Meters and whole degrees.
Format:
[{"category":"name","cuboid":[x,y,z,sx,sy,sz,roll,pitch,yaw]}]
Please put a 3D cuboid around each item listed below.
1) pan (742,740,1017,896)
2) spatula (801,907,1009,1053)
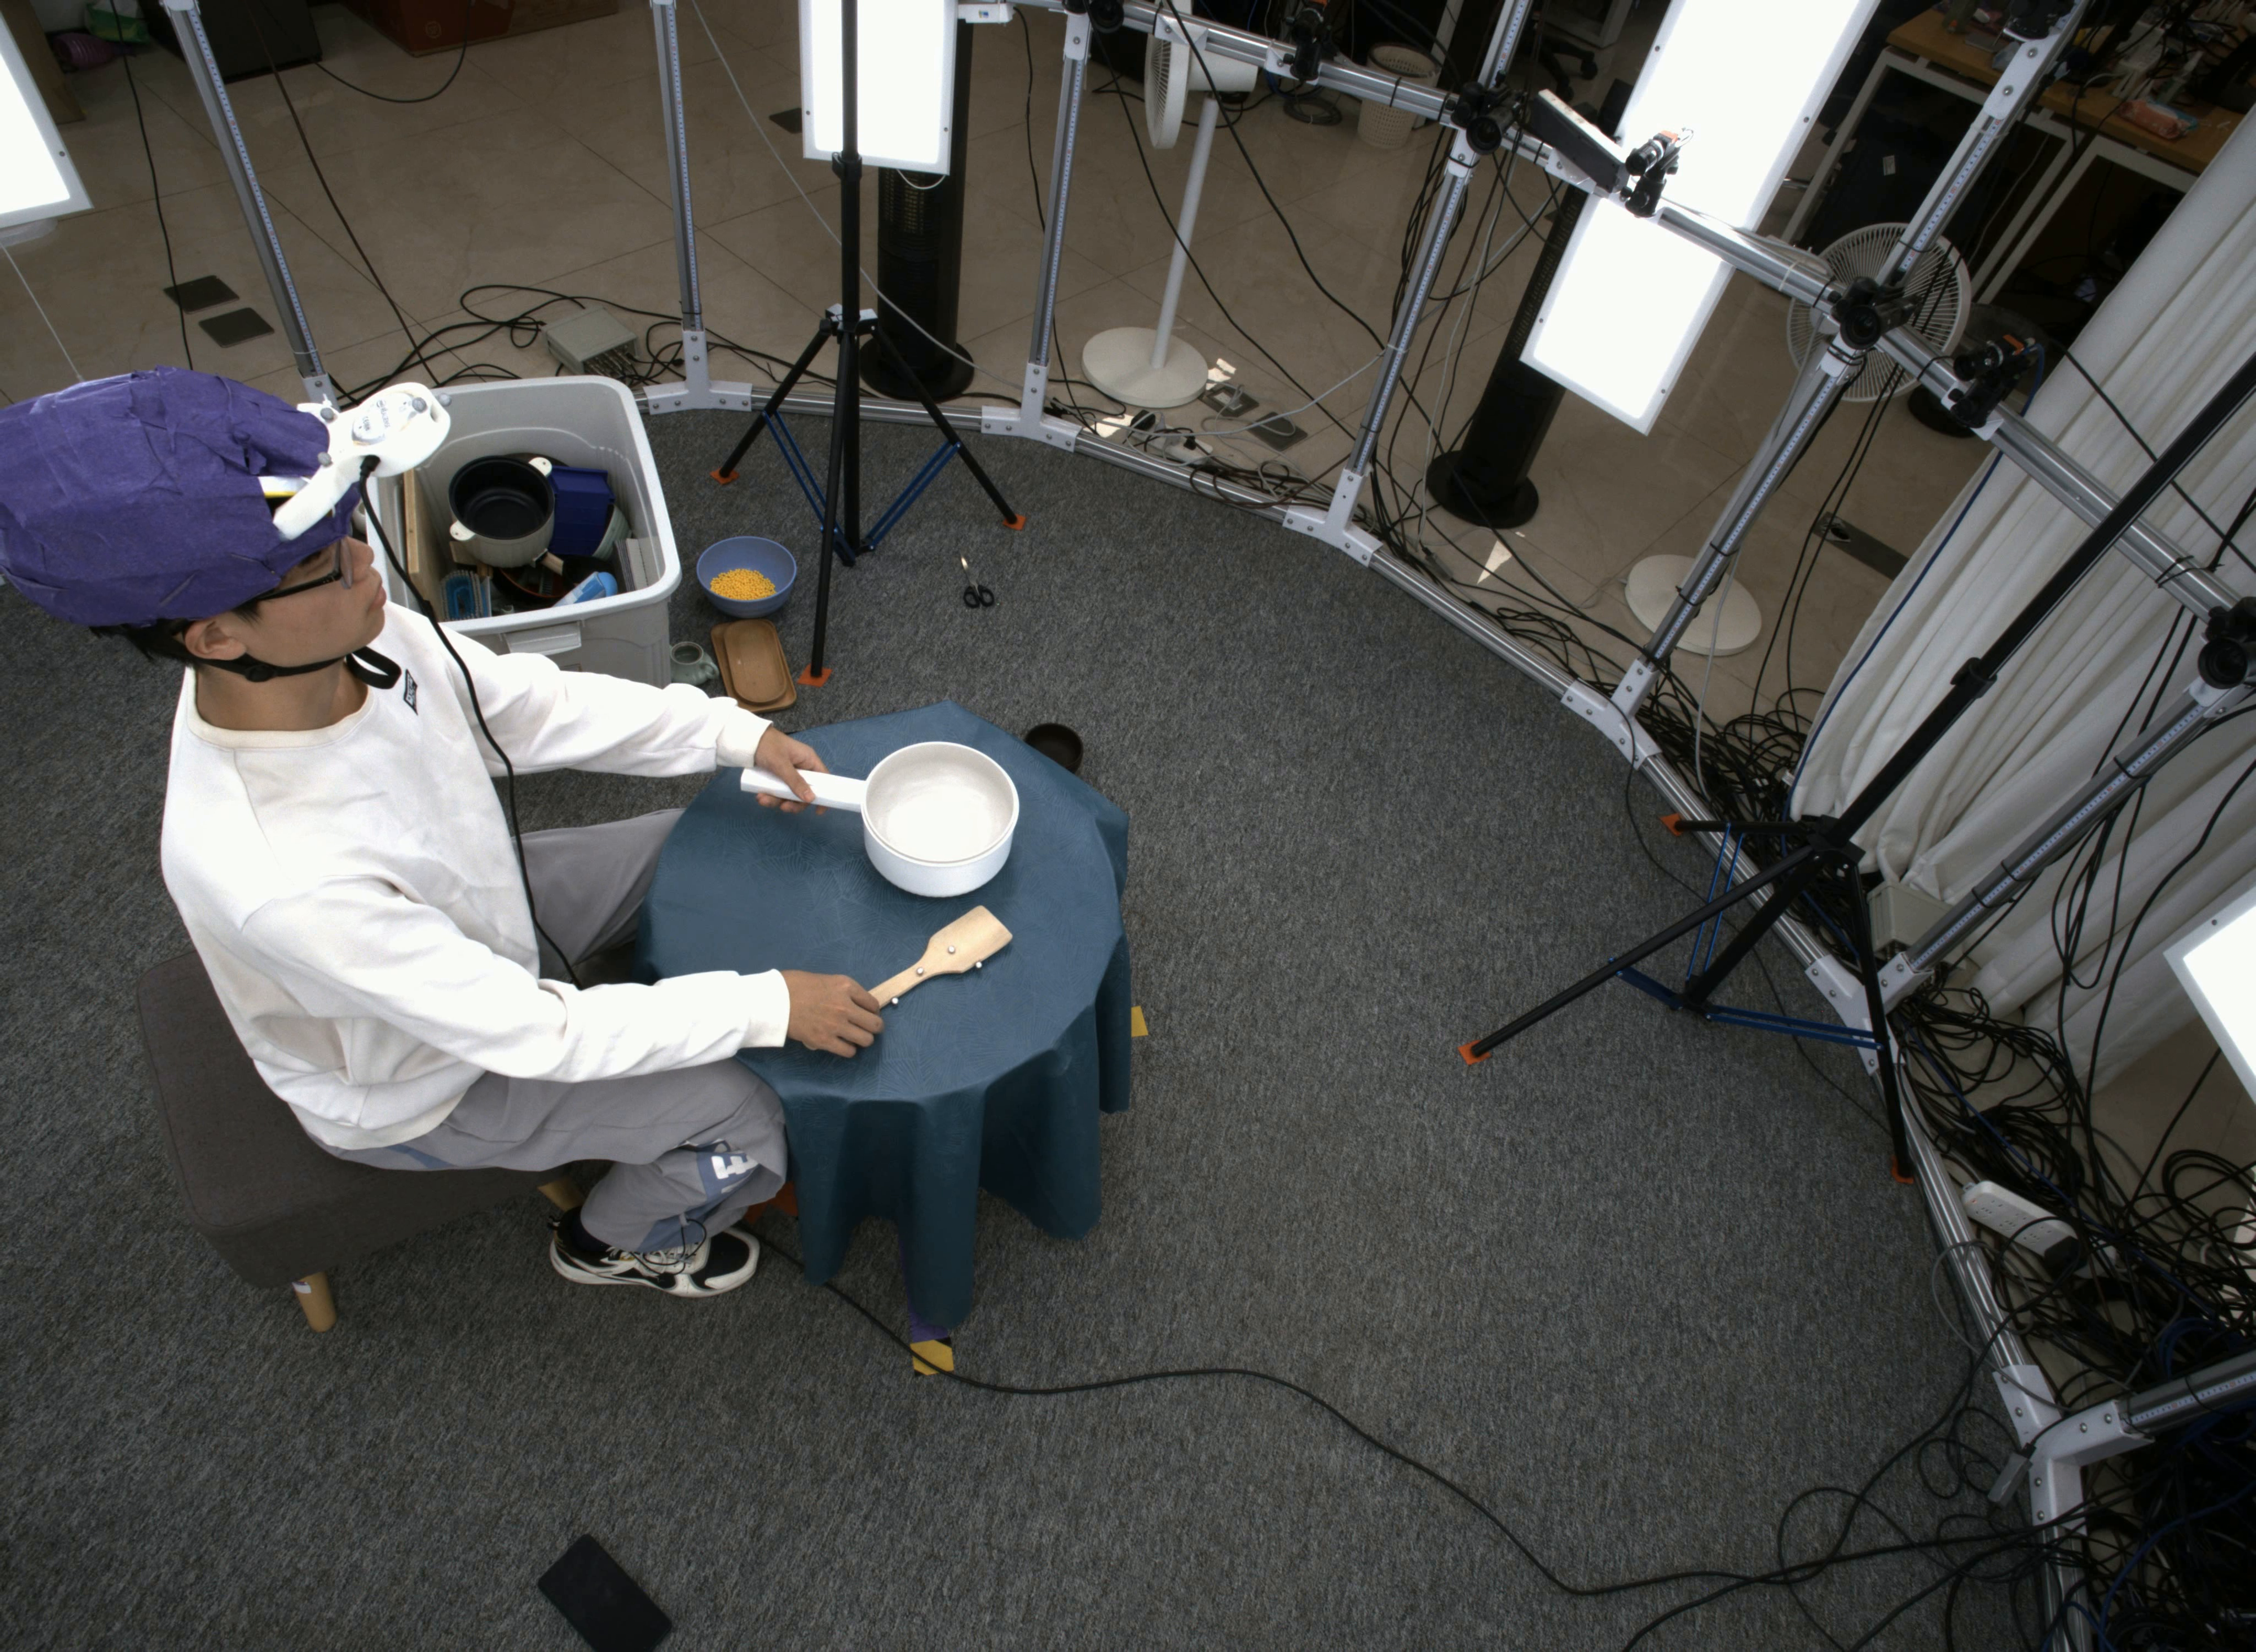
[{"category":"pan","cuboid":[-0.324,-0.018,1.706,0.353,0.104,0.198,9,52,-5]},{"category":"spatula","cuboid":[-0.279,0.193,1.619,0.294,0.011,0.070,-33,62,-30]}]
